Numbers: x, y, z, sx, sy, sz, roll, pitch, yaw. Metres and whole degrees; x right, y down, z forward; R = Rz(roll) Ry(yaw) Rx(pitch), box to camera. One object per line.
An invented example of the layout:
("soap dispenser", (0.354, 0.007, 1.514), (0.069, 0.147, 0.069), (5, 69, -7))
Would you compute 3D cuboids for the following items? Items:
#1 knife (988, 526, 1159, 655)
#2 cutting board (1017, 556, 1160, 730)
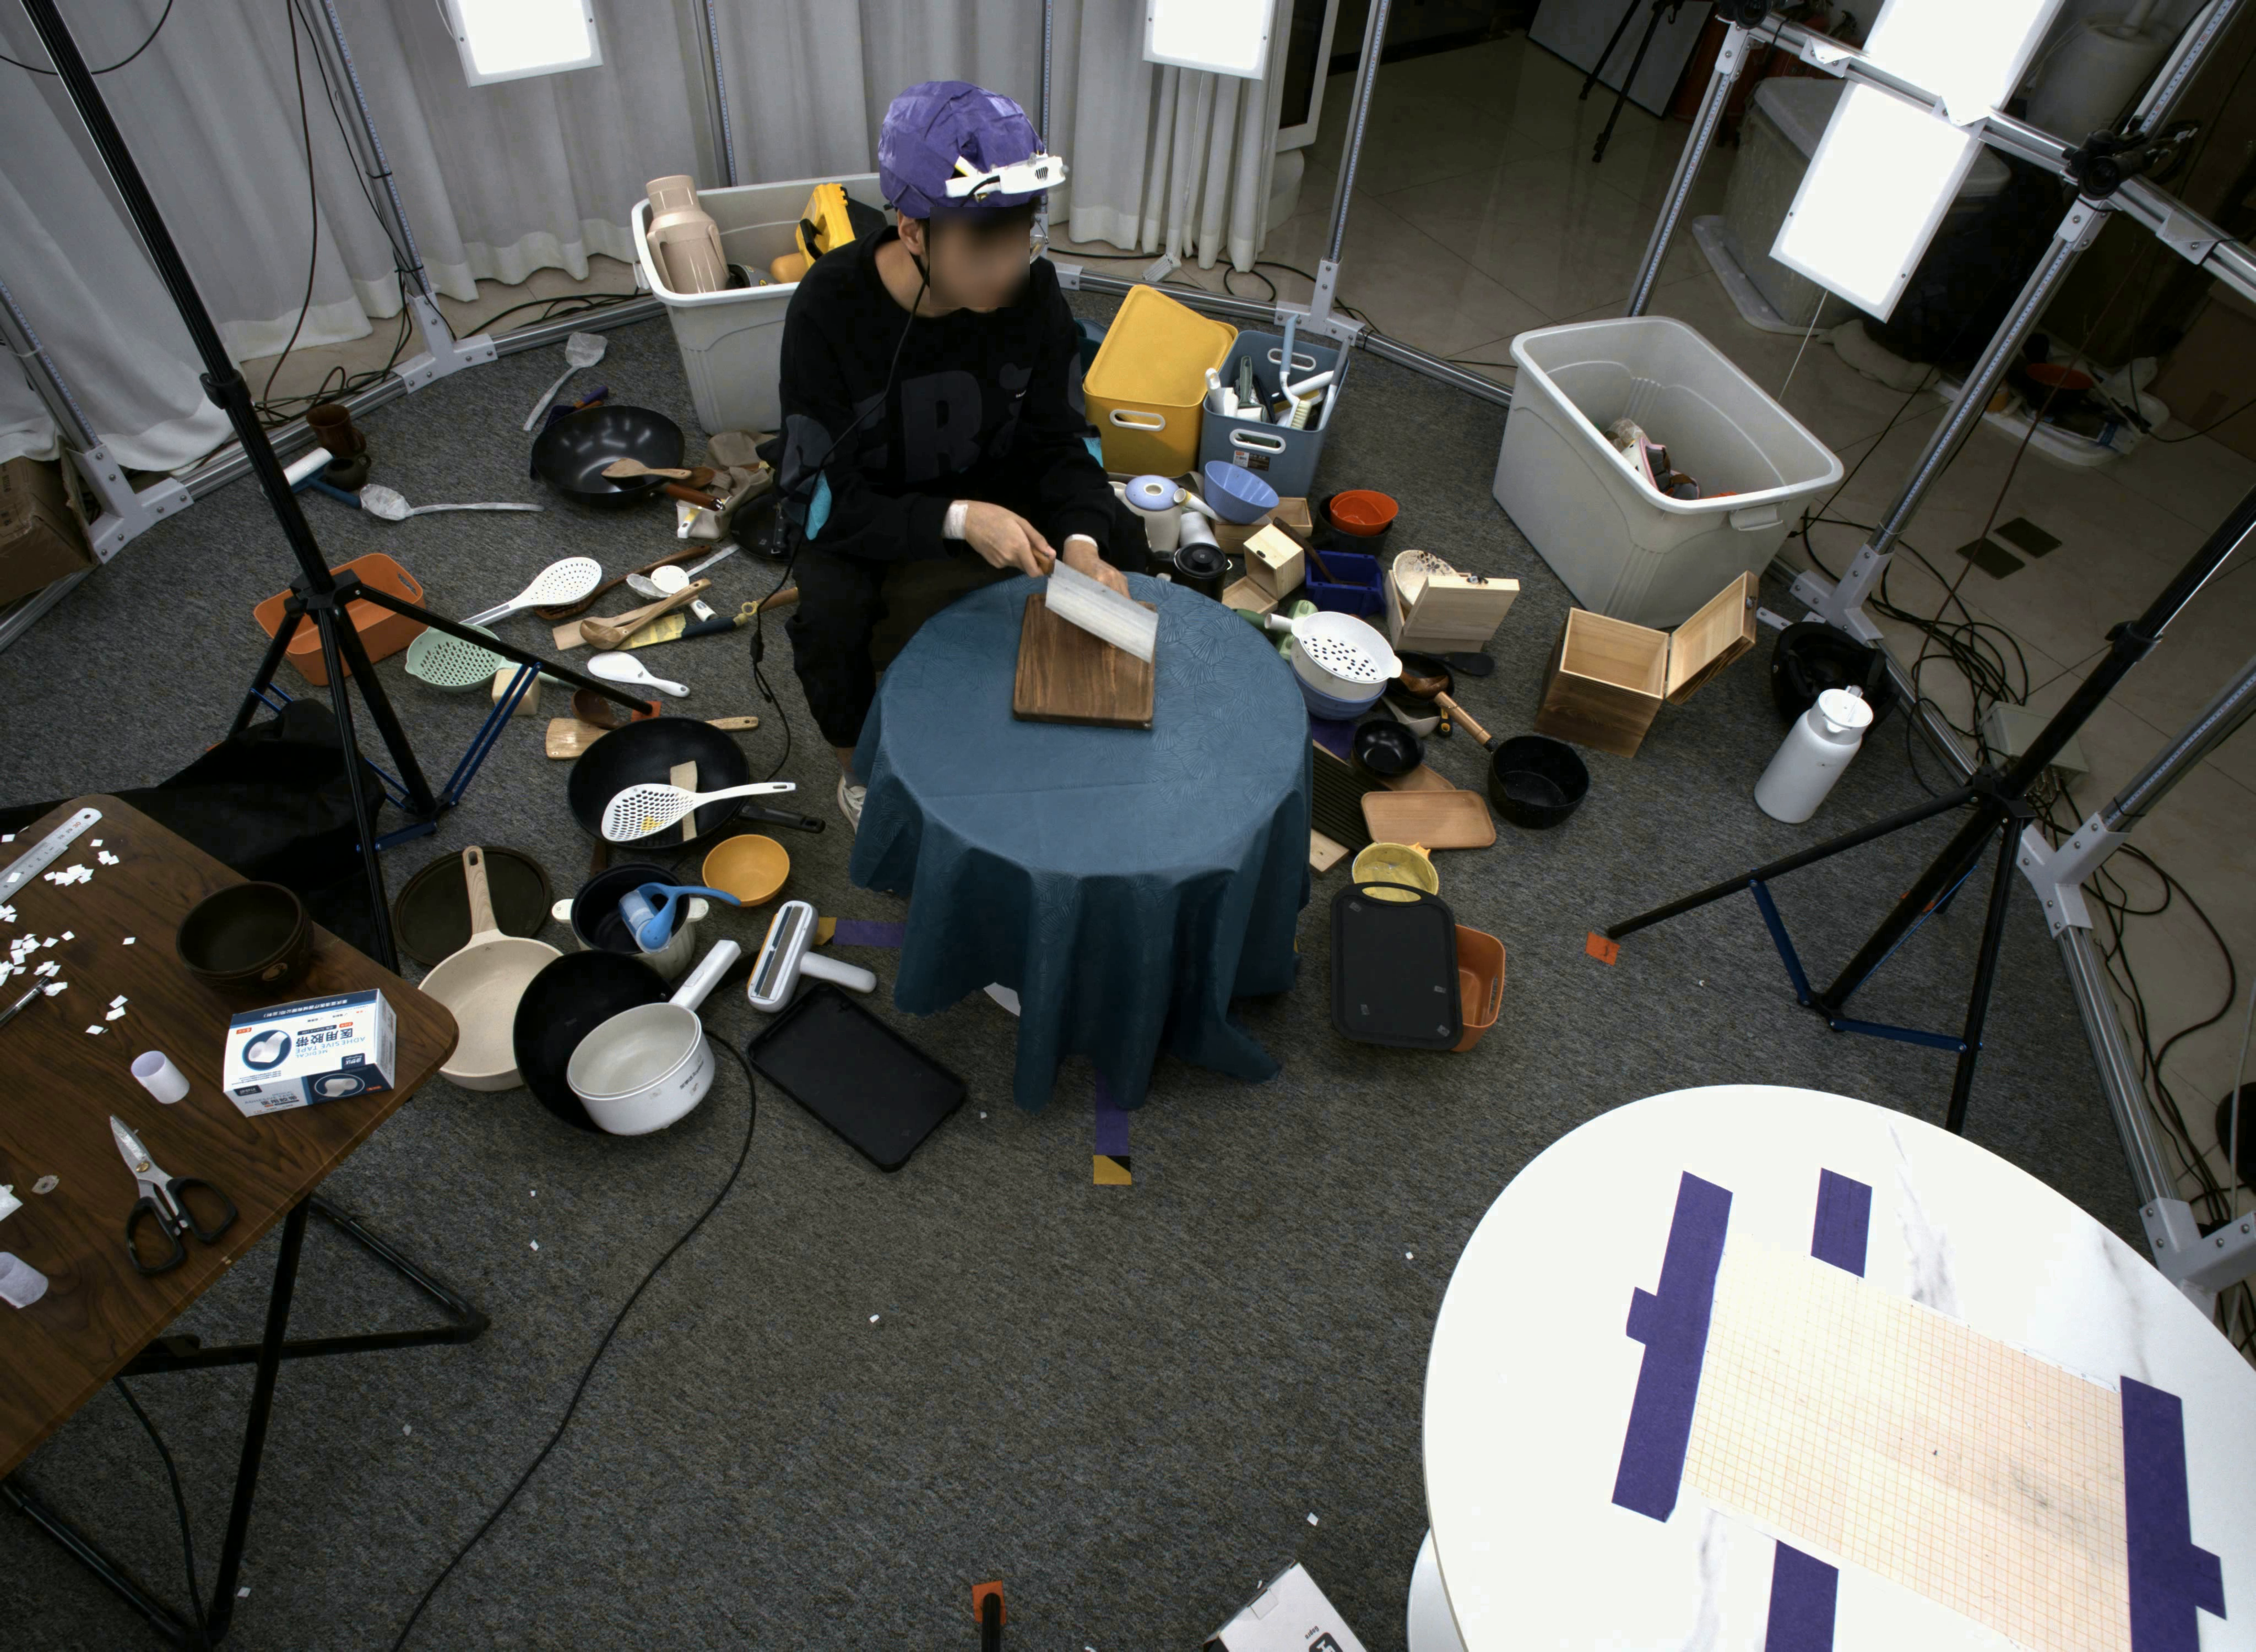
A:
("knife", (-0.081, -0.333, 1.842), (0.309, 0.091, 0.021), (32, 50, 21))
("cutting board", (-0.052, -0.279, 1.894), (0.201, 0.022, 0.361), (4, 49, -1))
